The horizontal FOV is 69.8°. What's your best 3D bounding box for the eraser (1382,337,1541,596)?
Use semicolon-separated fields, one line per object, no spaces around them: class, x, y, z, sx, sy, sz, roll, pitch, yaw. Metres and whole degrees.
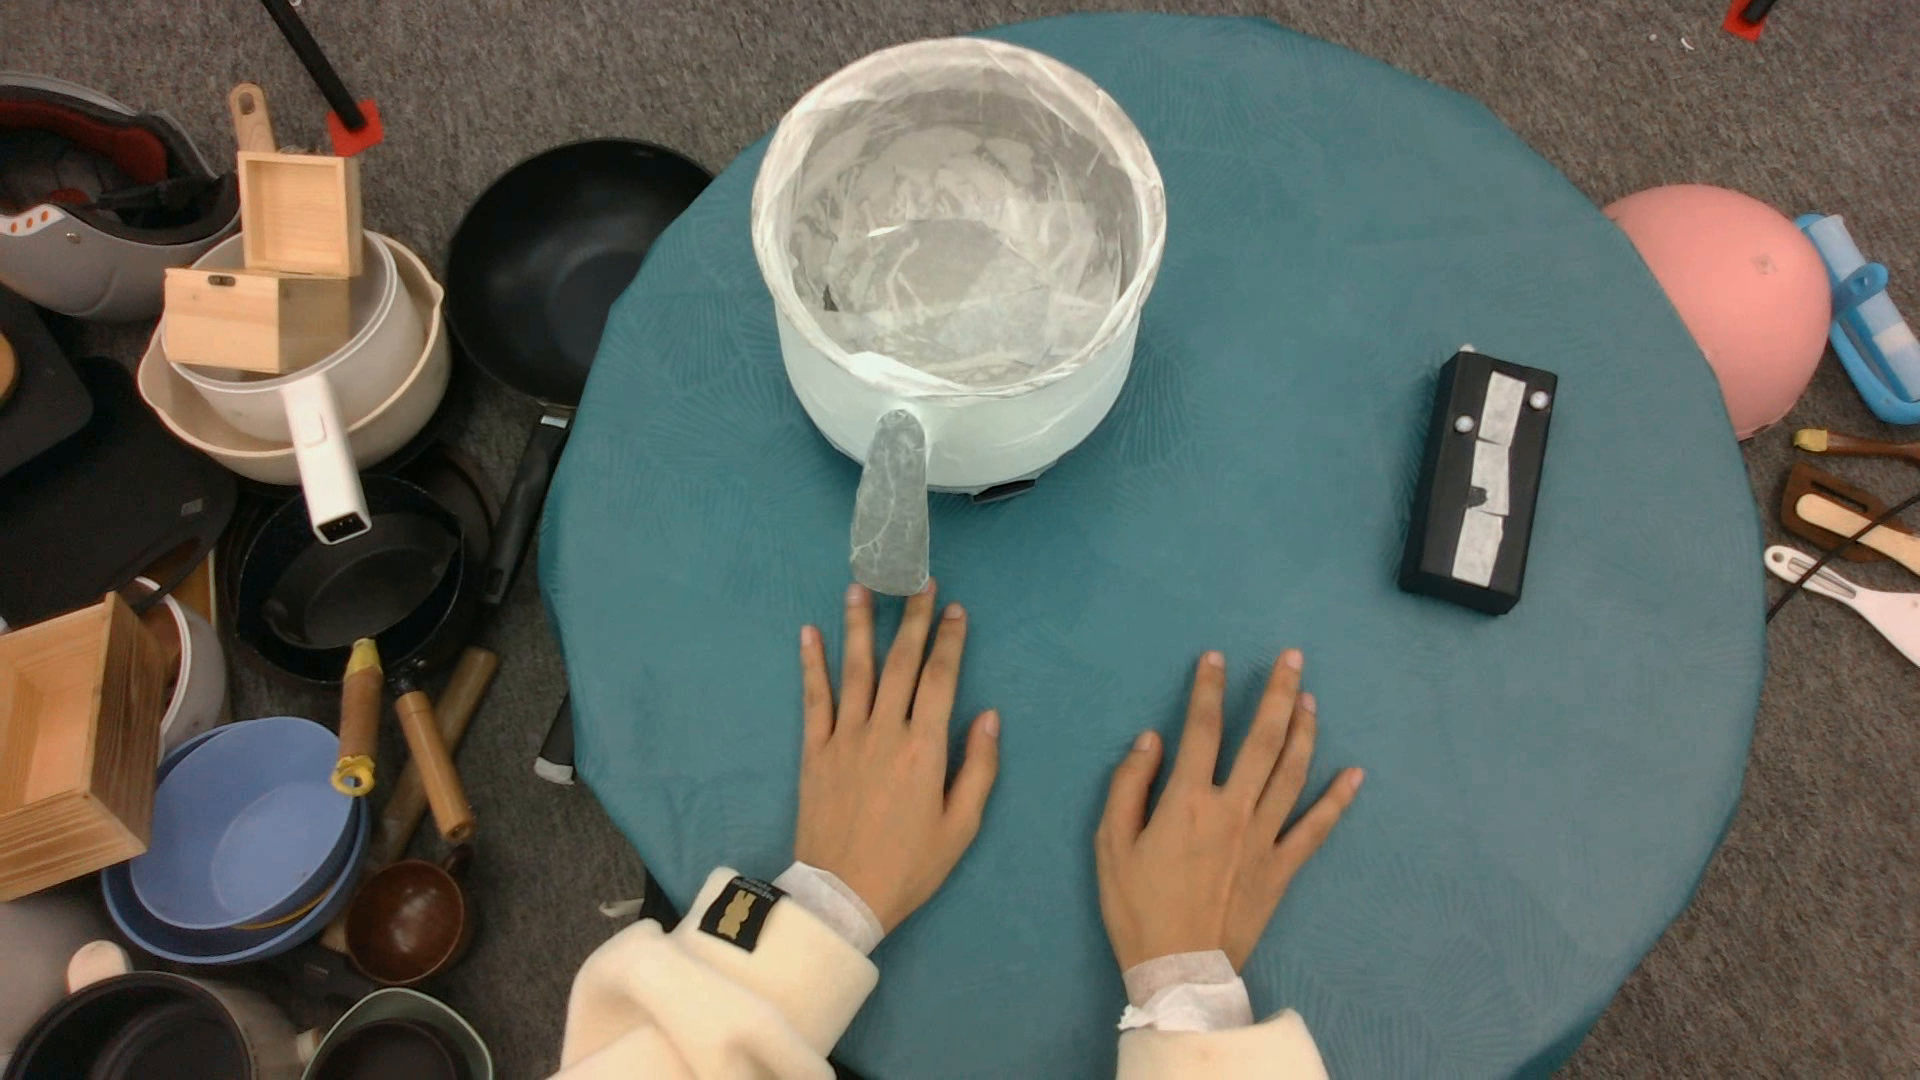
eraser;0.248;-0.038;0.683;0.053;0.030;0.126;16;73;4

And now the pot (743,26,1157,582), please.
pot;-0.011;-0.101;0.638;0.178;0.136;0.234;12;71;3
